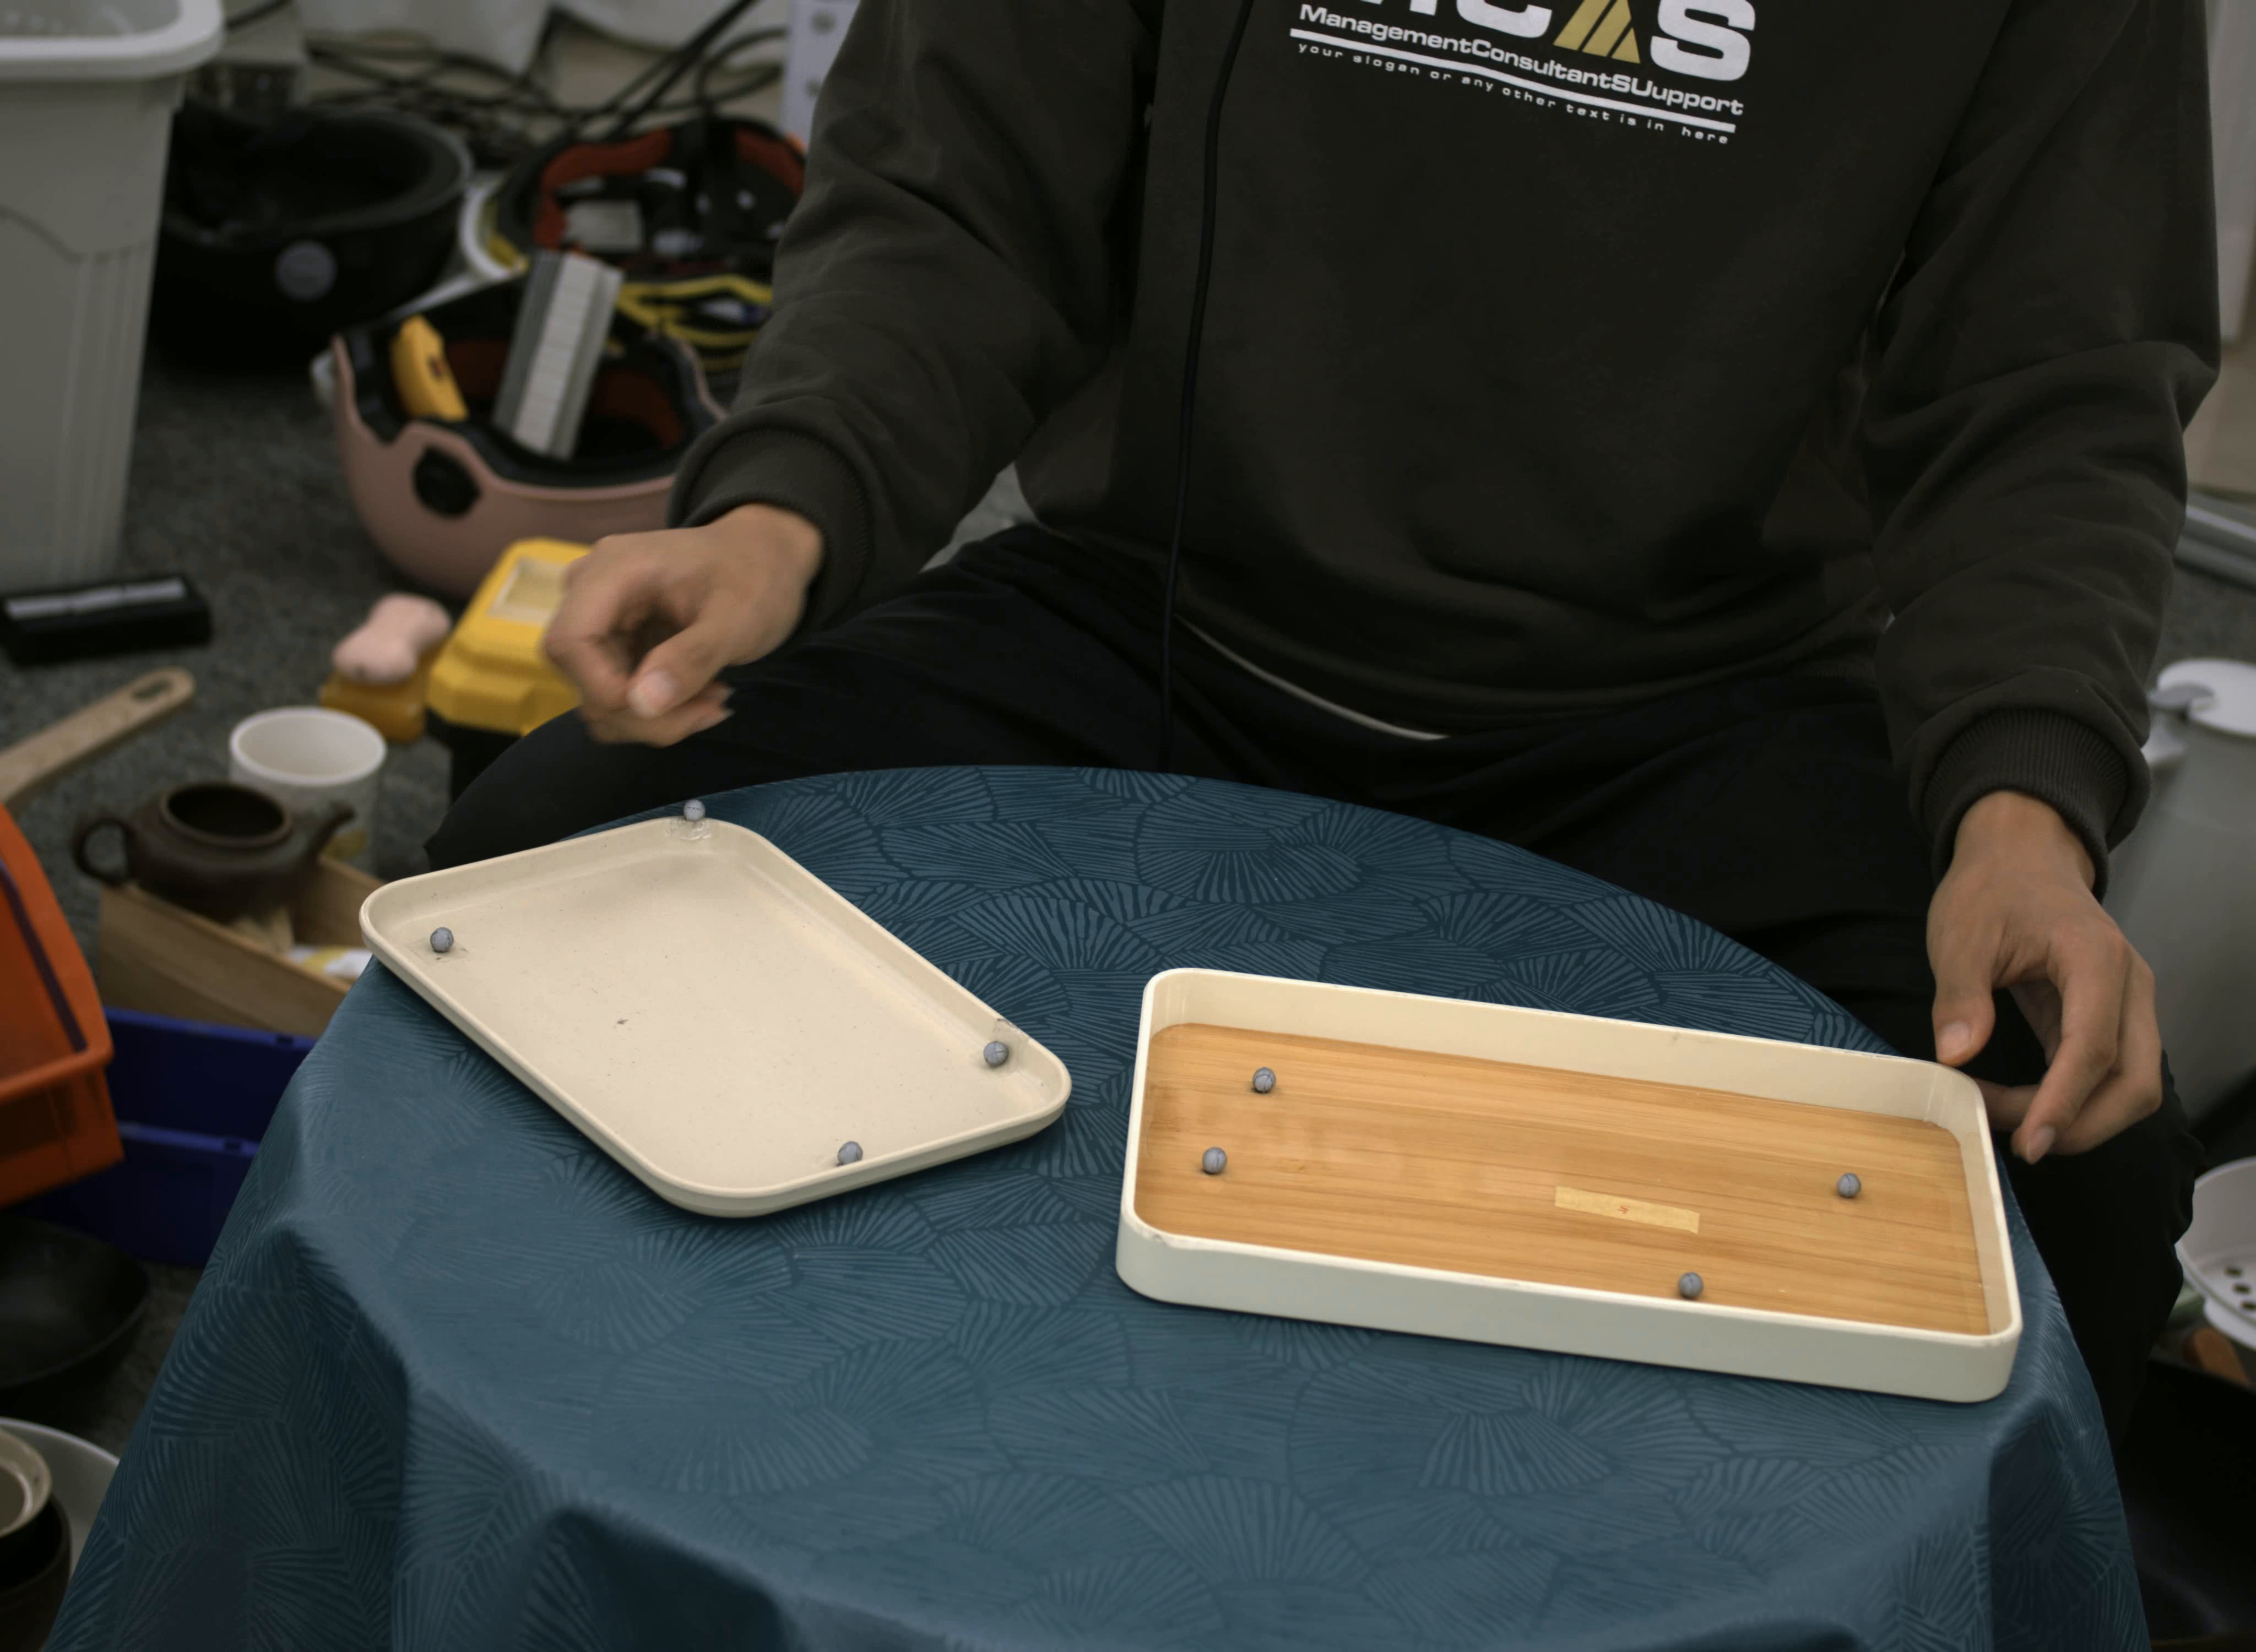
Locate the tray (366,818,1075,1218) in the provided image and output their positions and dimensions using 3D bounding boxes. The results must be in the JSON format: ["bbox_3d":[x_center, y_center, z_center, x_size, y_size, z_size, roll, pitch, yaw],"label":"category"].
[{"bbox_3d":[-0.145,0.066,1.867,0.170,0.017,0.242,-15,34,-35],"label":"tray"}]

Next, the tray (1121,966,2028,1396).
[{"bbox_3d":[0.150,0.119,1.821,0.299,0.027,0.192,7,26,0],"label":"tray"}]
